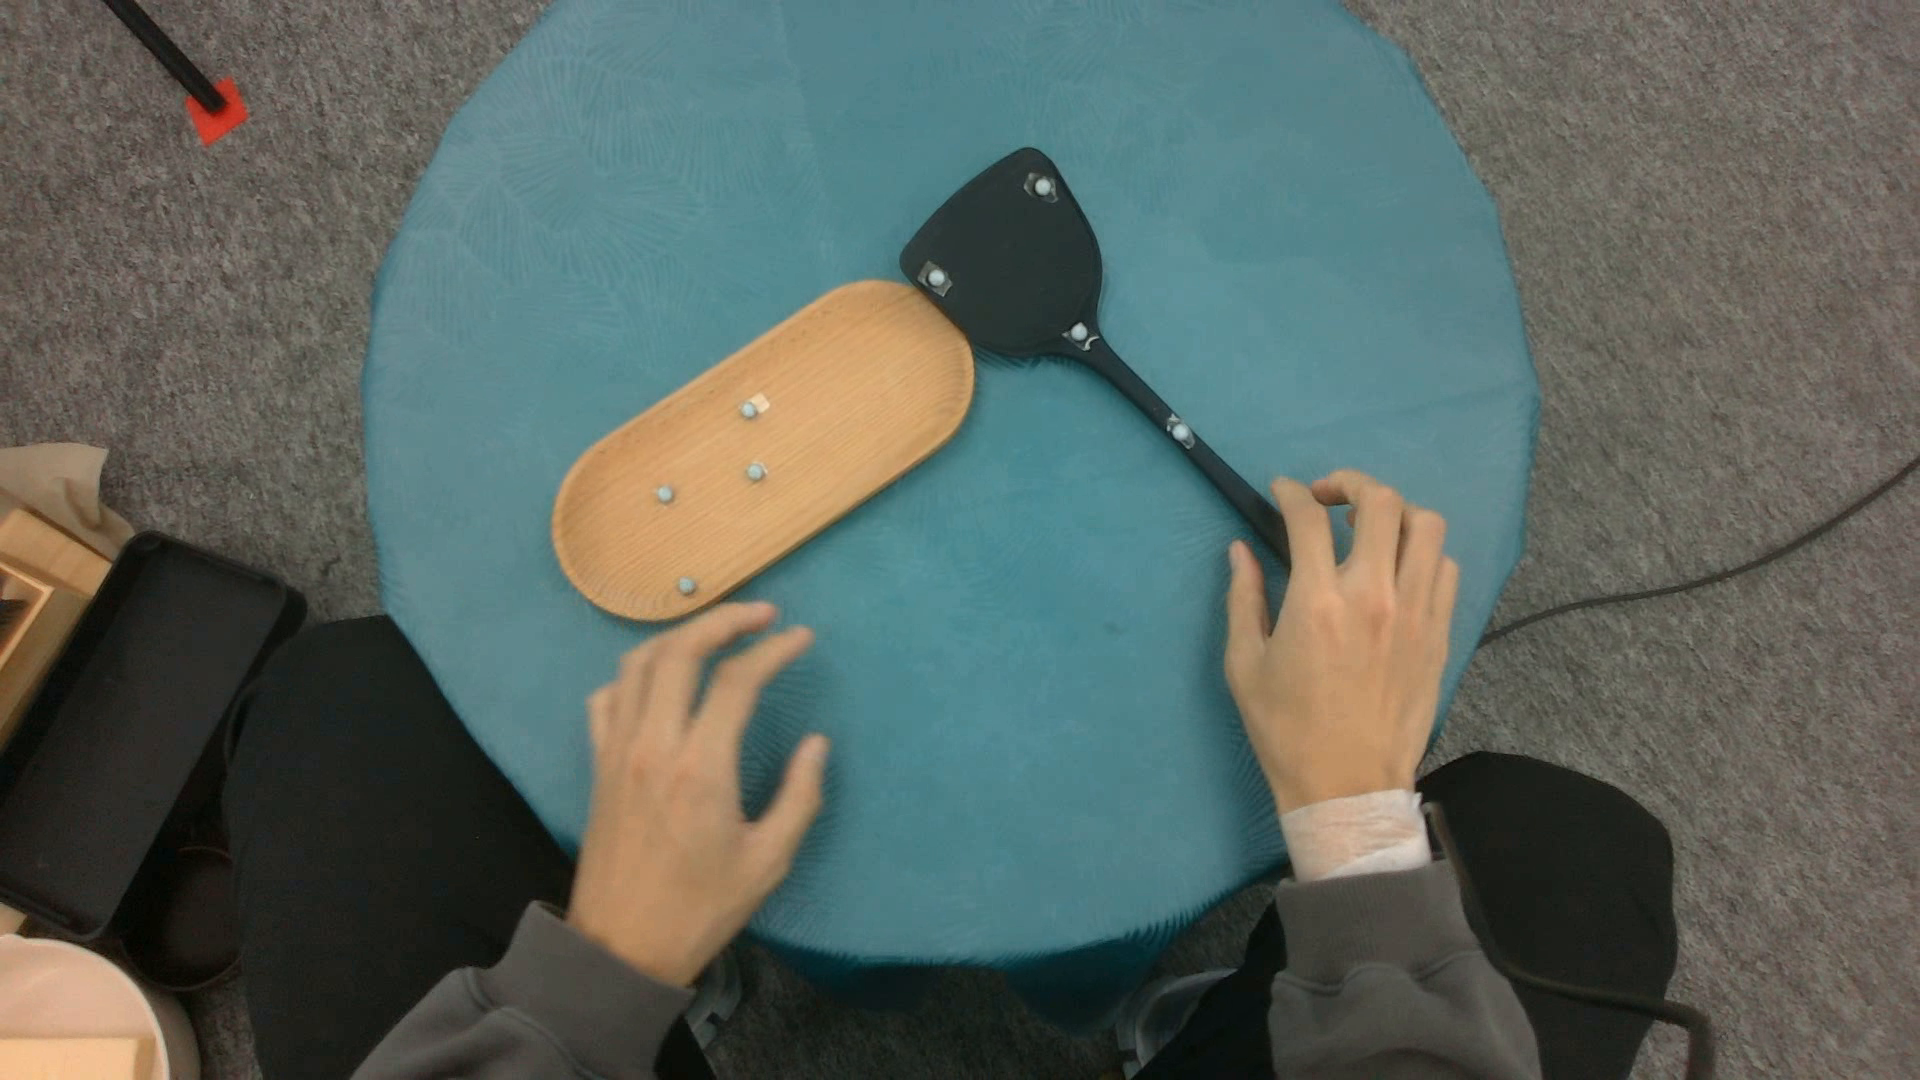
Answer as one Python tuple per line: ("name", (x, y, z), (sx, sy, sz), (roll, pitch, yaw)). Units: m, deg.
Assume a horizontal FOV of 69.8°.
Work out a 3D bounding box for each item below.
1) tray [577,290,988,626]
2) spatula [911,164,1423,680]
("tray", (-0.089, -0.043, 0.706), (0.231, 0.020, 0.102), (-35, 78, -9))
("spatula", (0.115, -0.051, 0.694), (0.100, 0.040, 0.326), (-42, 79, -8))
